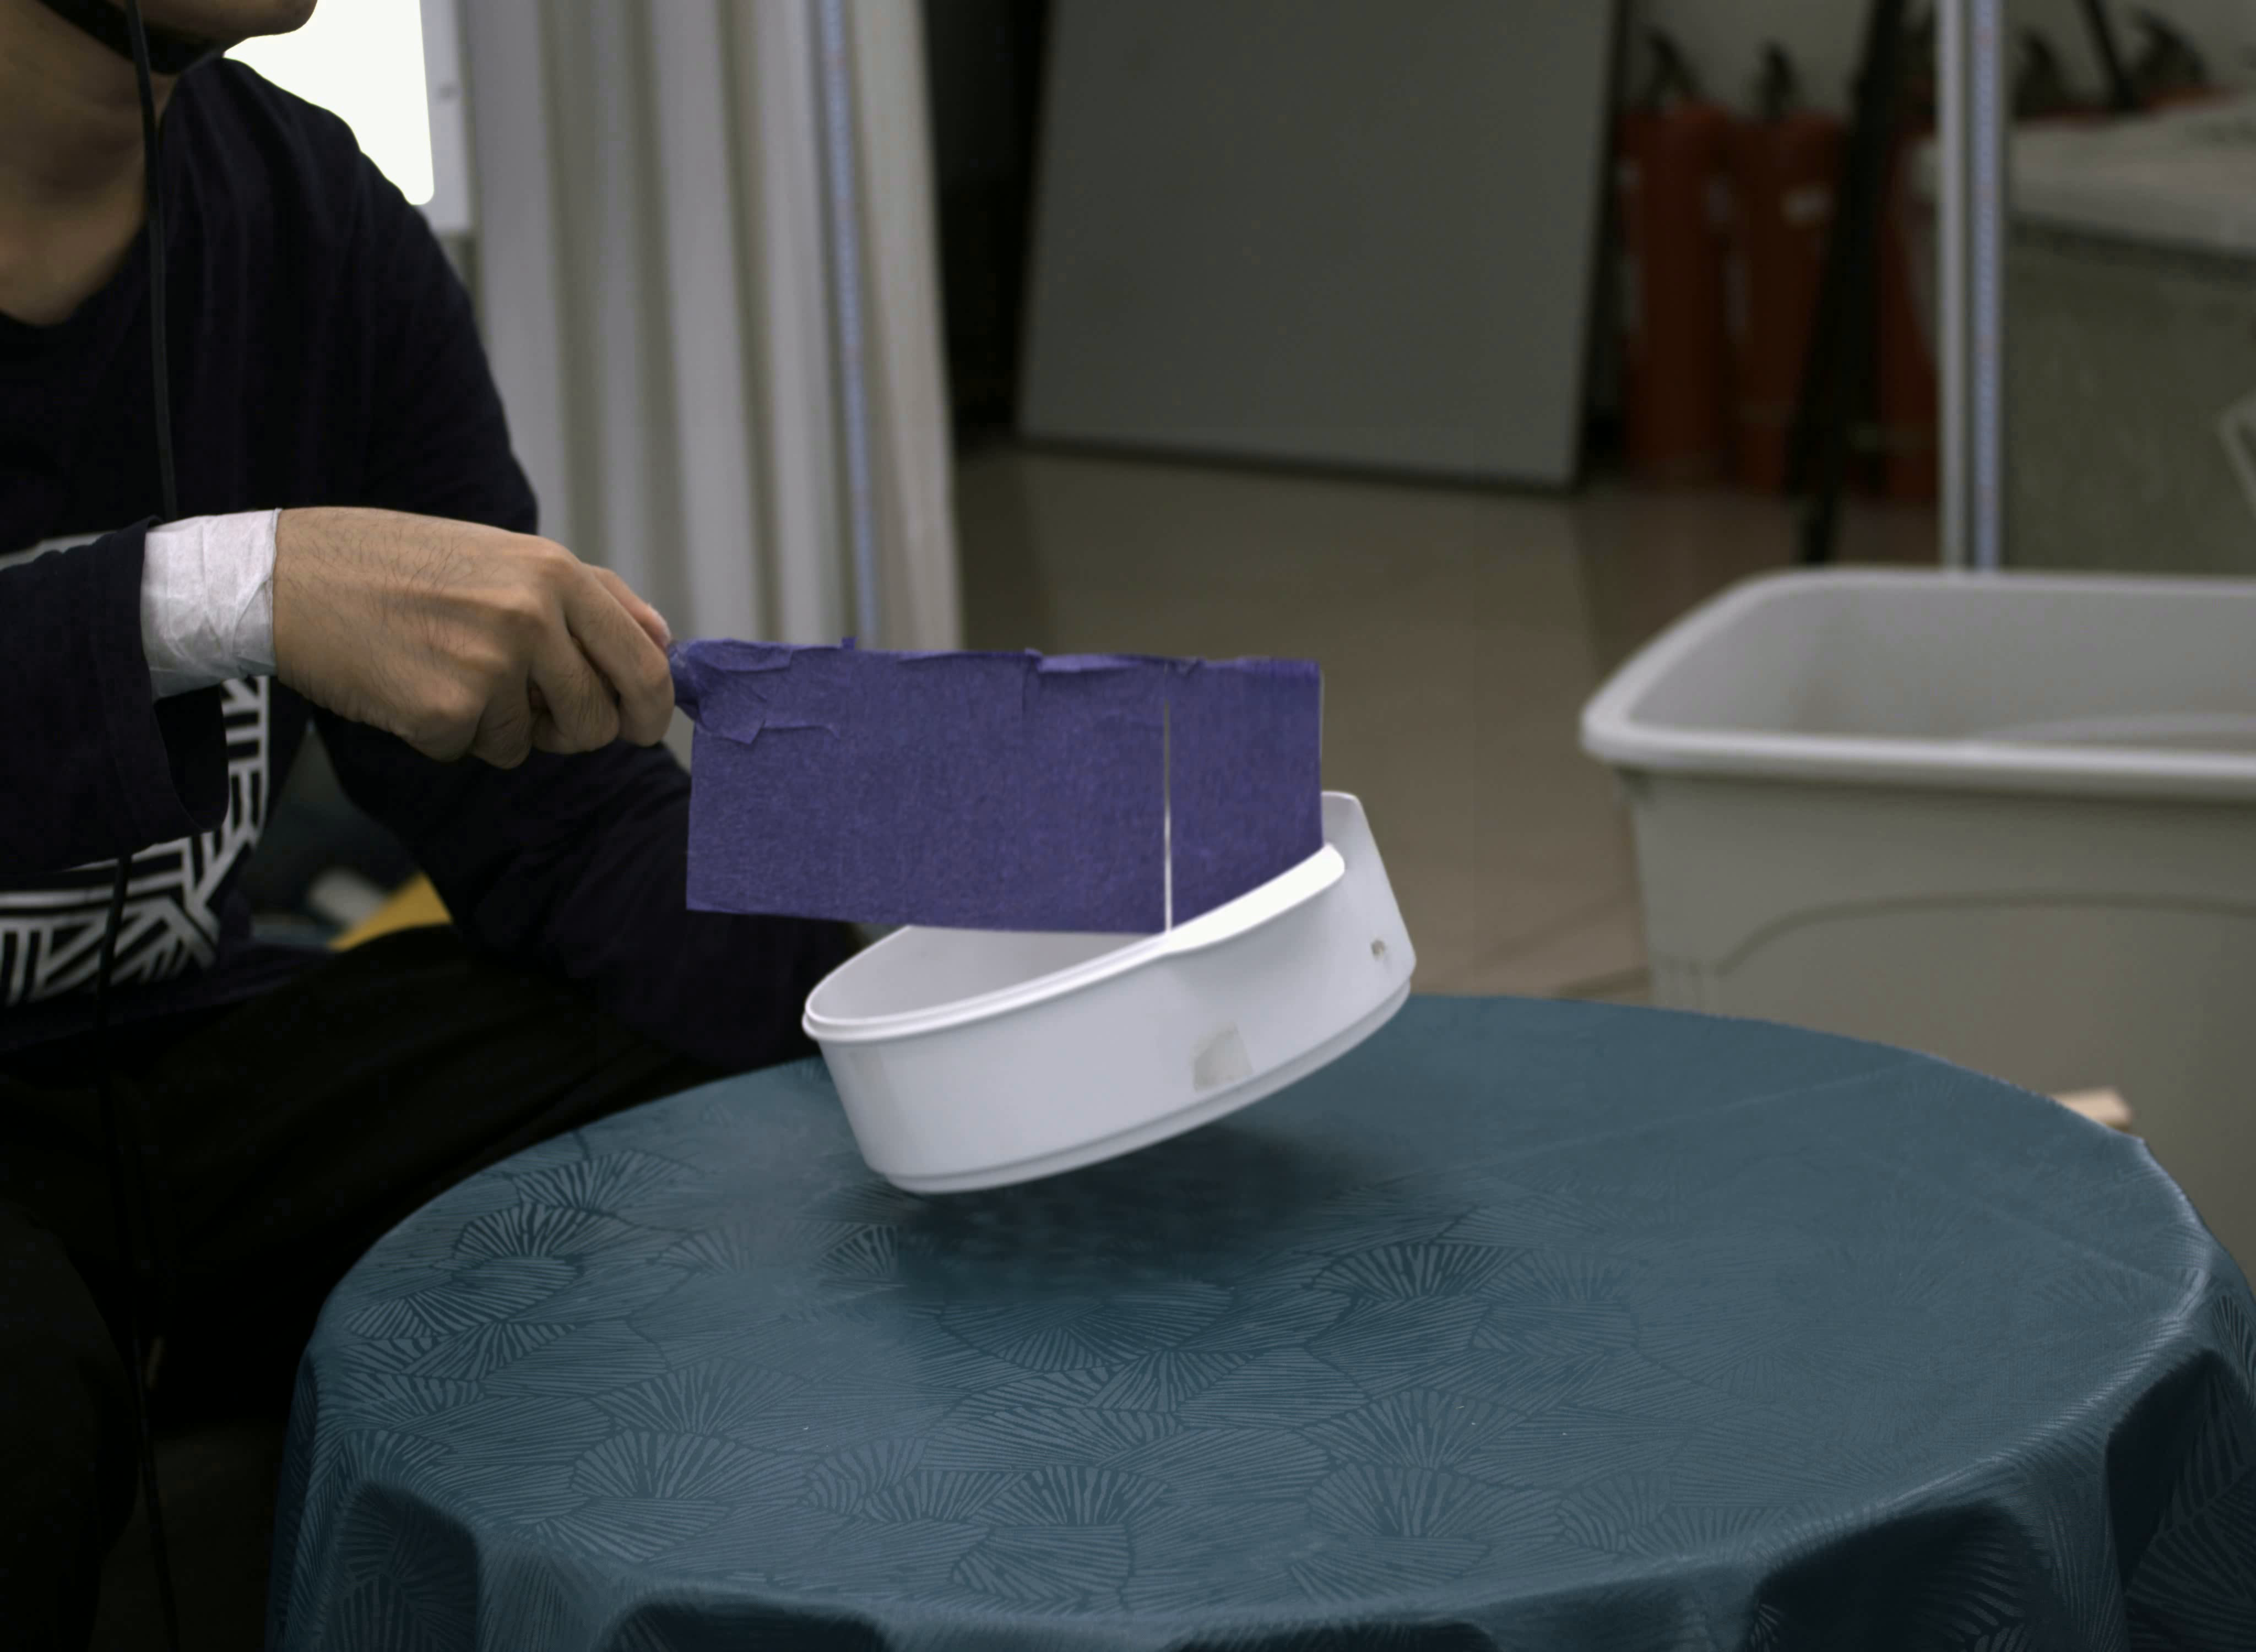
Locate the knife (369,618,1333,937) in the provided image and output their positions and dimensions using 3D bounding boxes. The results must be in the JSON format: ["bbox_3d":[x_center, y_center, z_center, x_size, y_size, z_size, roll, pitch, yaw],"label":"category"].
[{"bbox_3d":[-0.088,-0.017,1.733,0.311,0.105,0.032,2,-11,-2],"label":"knife"}]

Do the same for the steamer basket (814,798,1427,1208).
[{"bbox_3d":[0.001,0.059,1.754,0.198,0.070,0.233,-26,8,-31],"label":"steamer basket"}]
